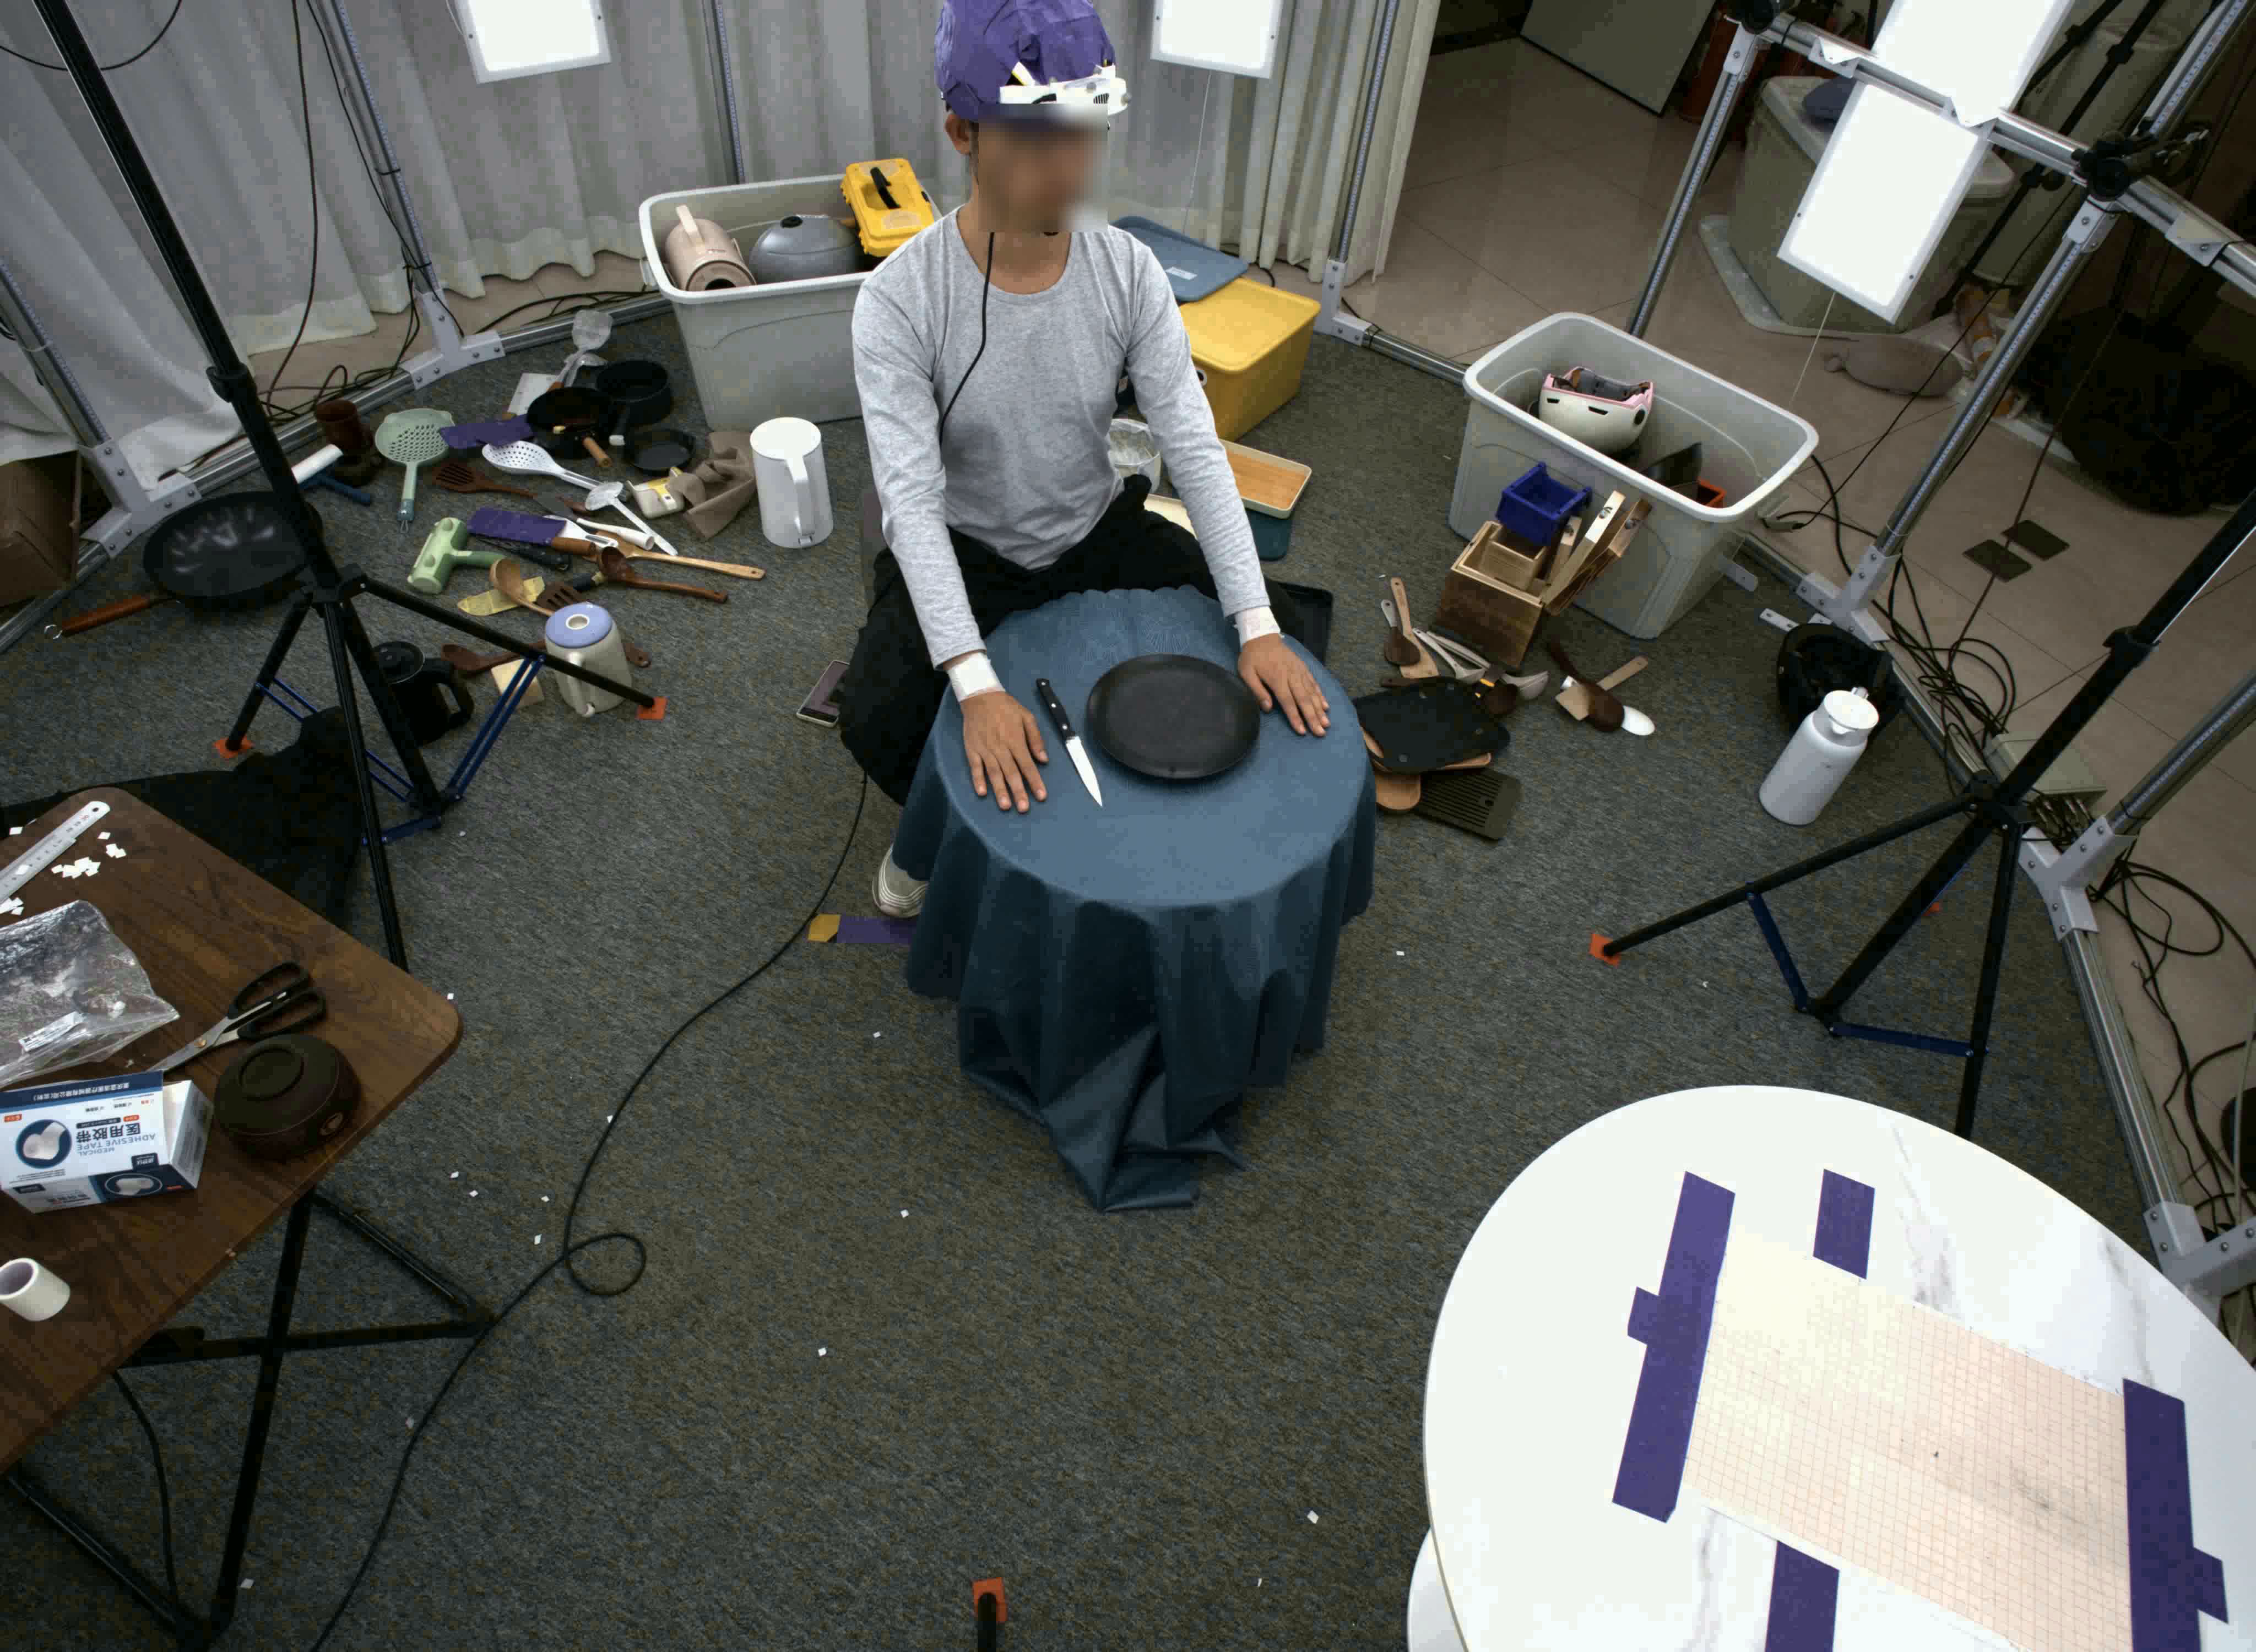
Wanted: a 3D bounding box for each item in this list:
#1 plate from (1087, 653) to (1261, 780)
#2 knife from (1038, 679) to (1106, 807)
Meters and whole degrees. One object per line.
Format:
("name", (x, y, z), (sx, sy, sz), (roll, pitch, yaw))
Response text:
("plate", (0.063, -0.151, 1.788), (0.244, 0.023, 0.250), (2, 49, -2))
("knife", (-0.077, -0.114, 1.754), (0.024, 0.016, 0.243), (-16, 54, -16))
